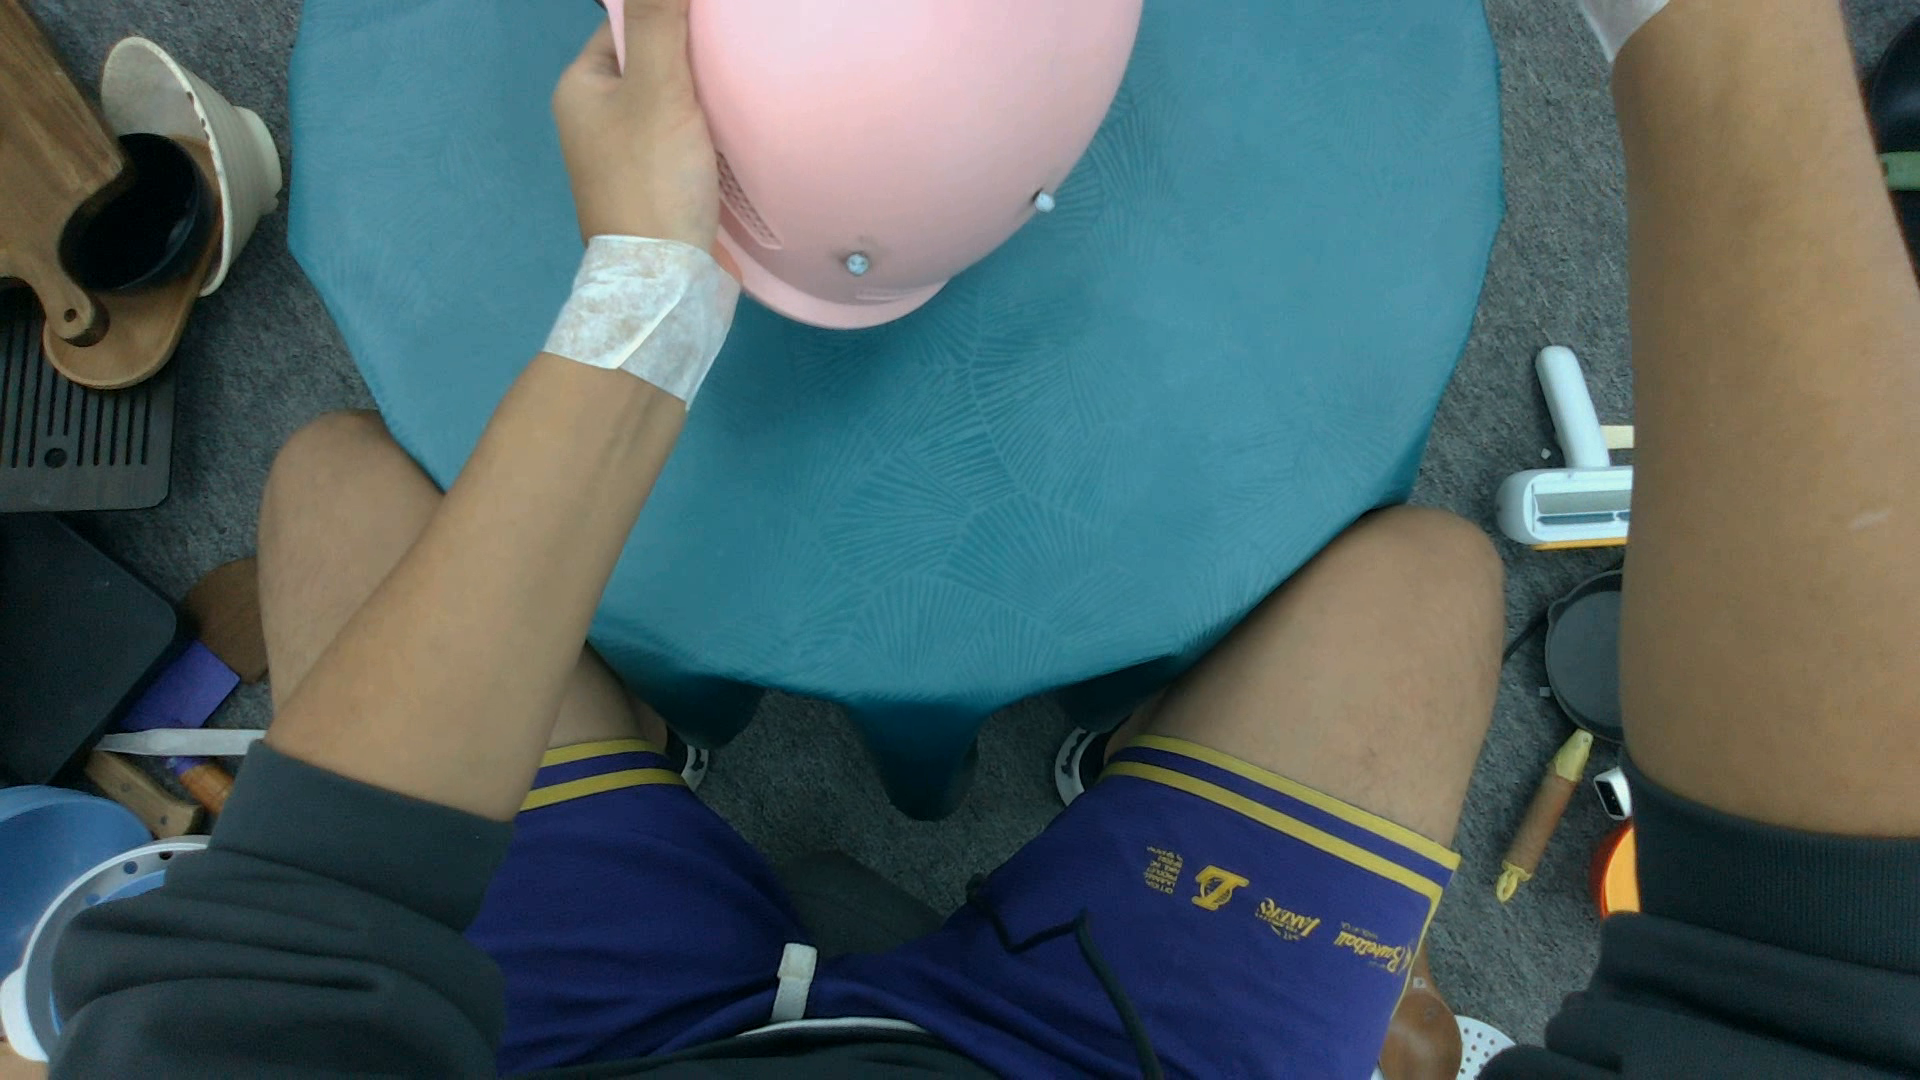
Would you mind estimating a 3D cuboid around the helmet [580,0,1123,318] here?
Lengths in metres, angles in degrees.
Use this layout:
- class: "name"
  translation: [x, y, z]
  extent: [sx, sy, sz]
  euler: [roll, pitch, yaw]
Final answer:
- class: "helmet"
  translation: [-0.024, -0.231, 0.544]
  extent: [0.234, 0.158, 0.266]
  euler: [21, 68, -47]
